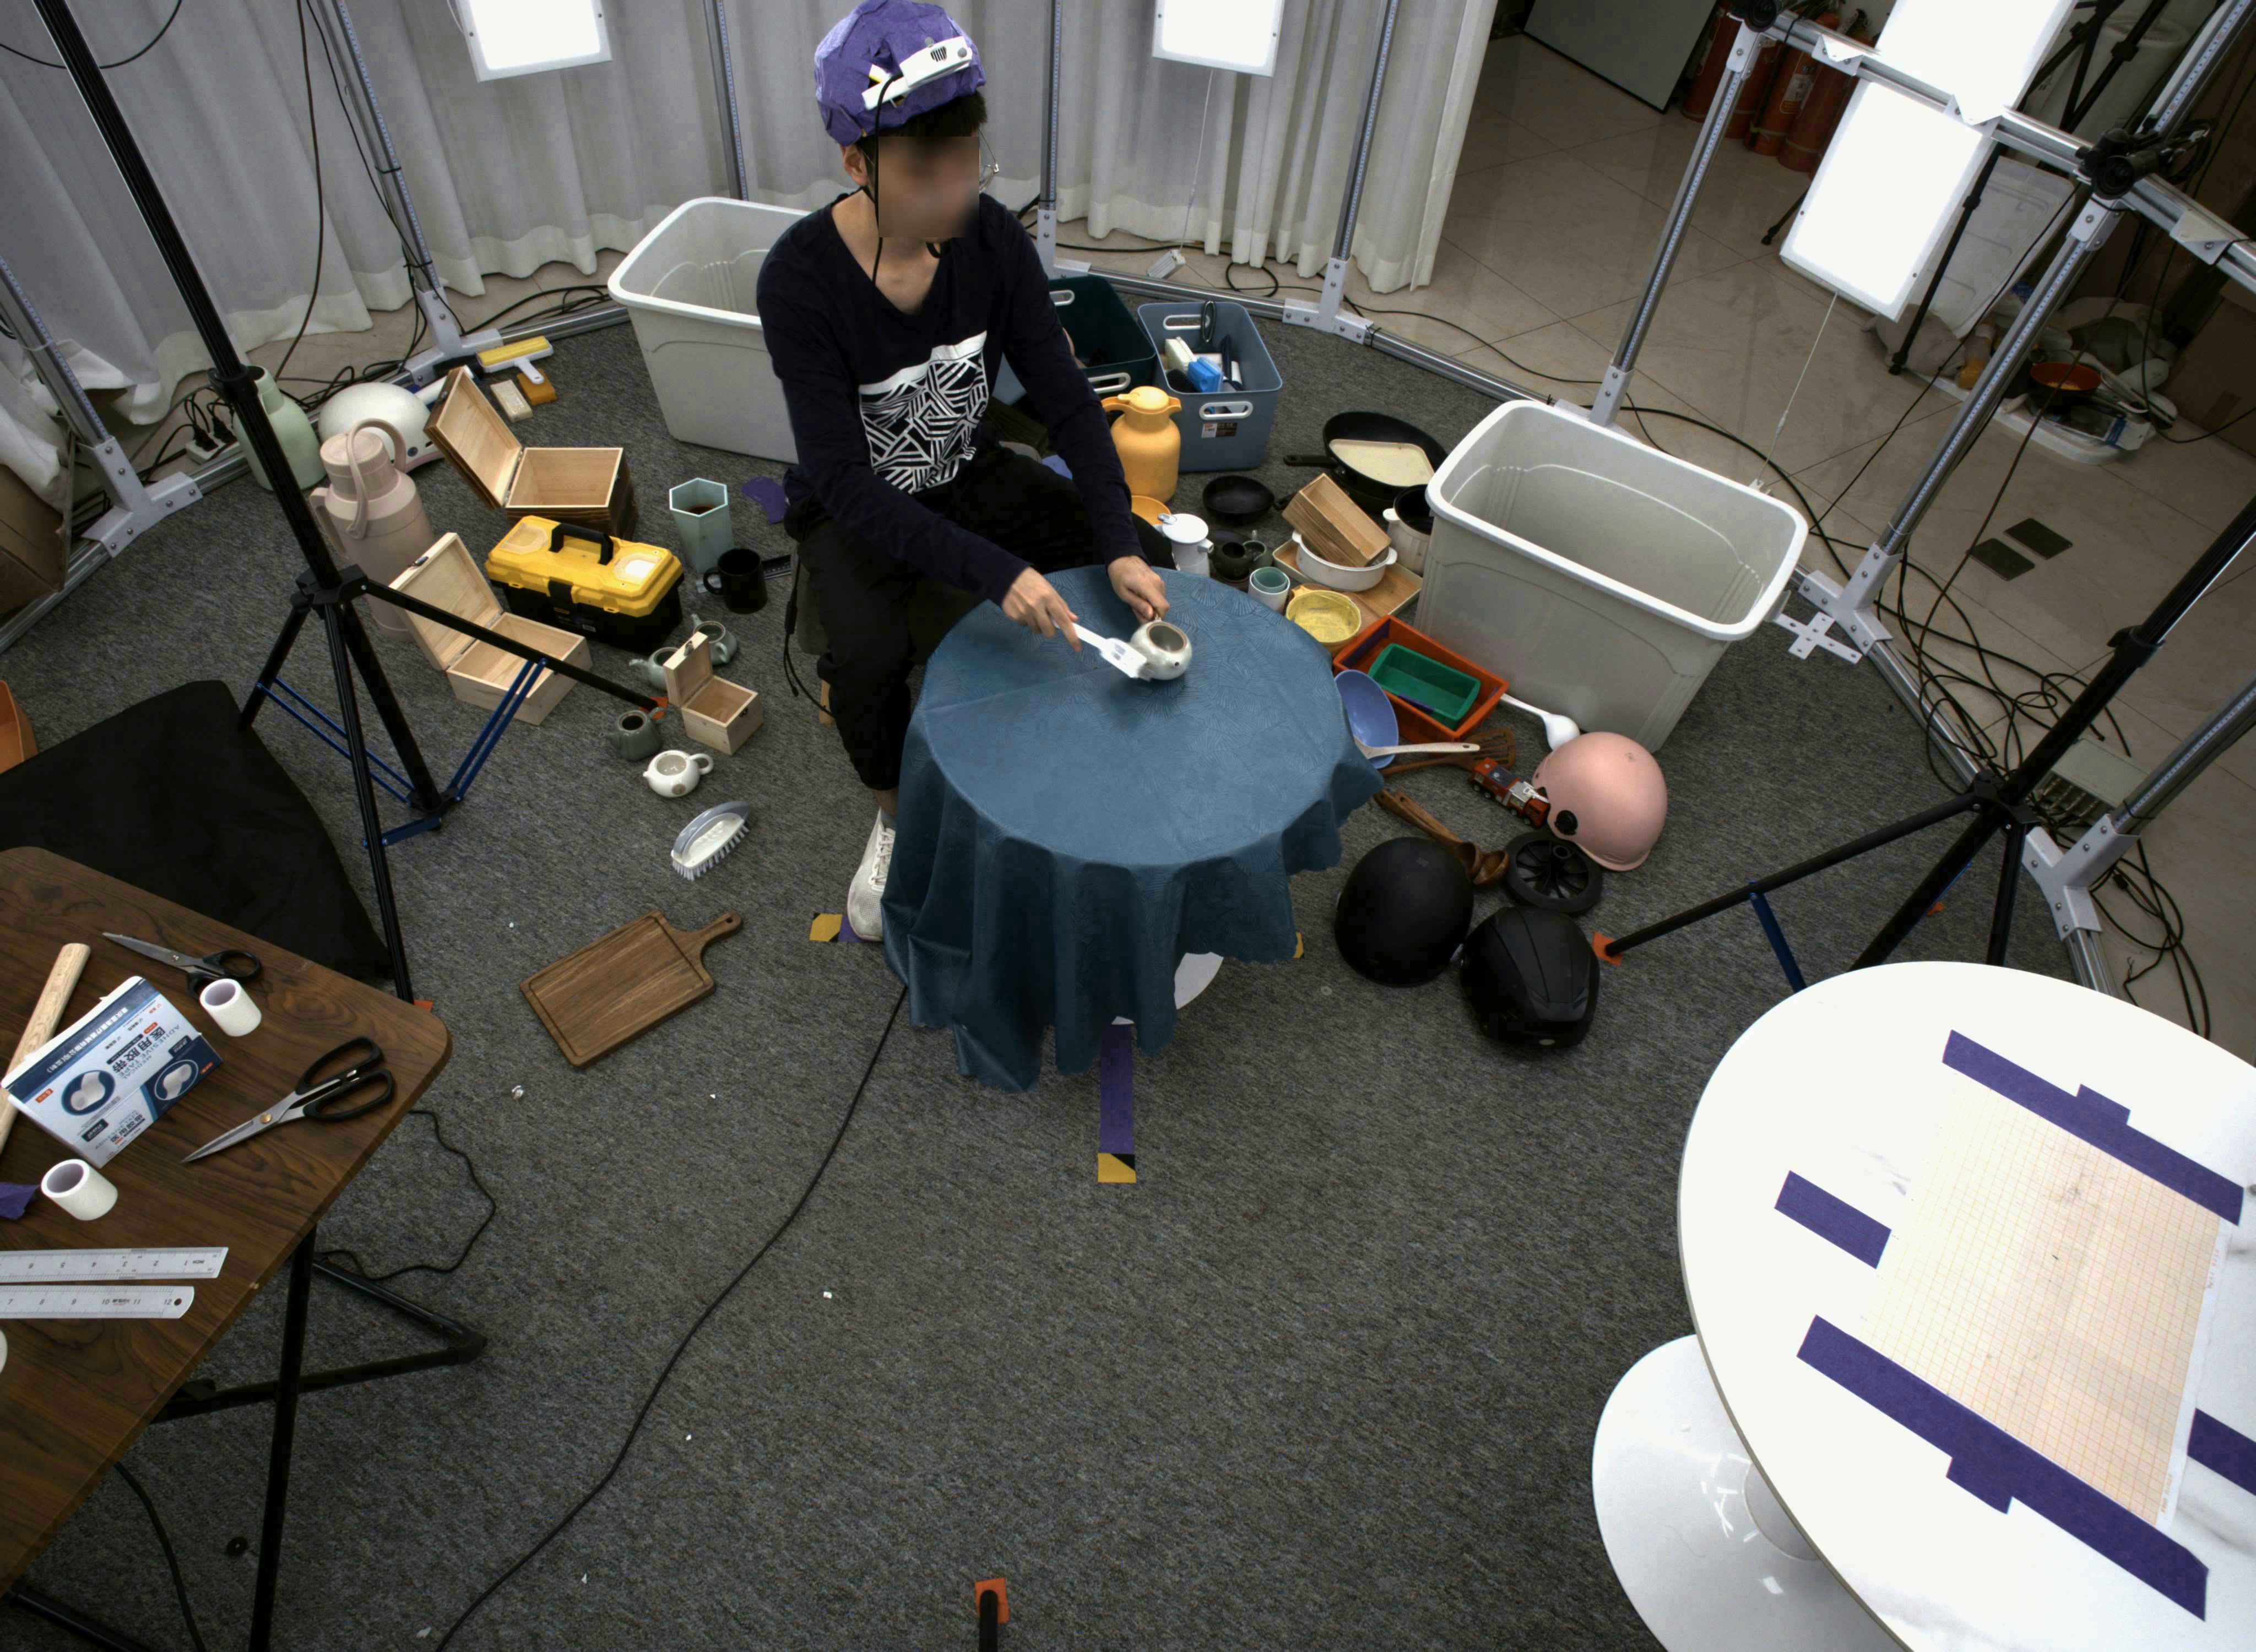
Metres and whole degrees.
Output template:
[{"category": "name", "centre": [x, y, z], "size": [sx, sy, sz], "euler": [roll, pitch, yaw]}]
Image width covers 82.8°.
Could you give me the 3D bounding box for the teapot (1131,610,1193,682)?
[{"category": "teapot", "centre": [0.046, -0.257, 1.850], "size": [0.091, 0.058, 0.131], "euler": [-4, 53, -23]}]

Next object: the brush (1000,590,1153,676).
[{"category": "brush", "centre": [-0.073, -0.277, 1.824], "size": [0.246, 0.034, 0.050], "euler": [29, 21, 18]}]
